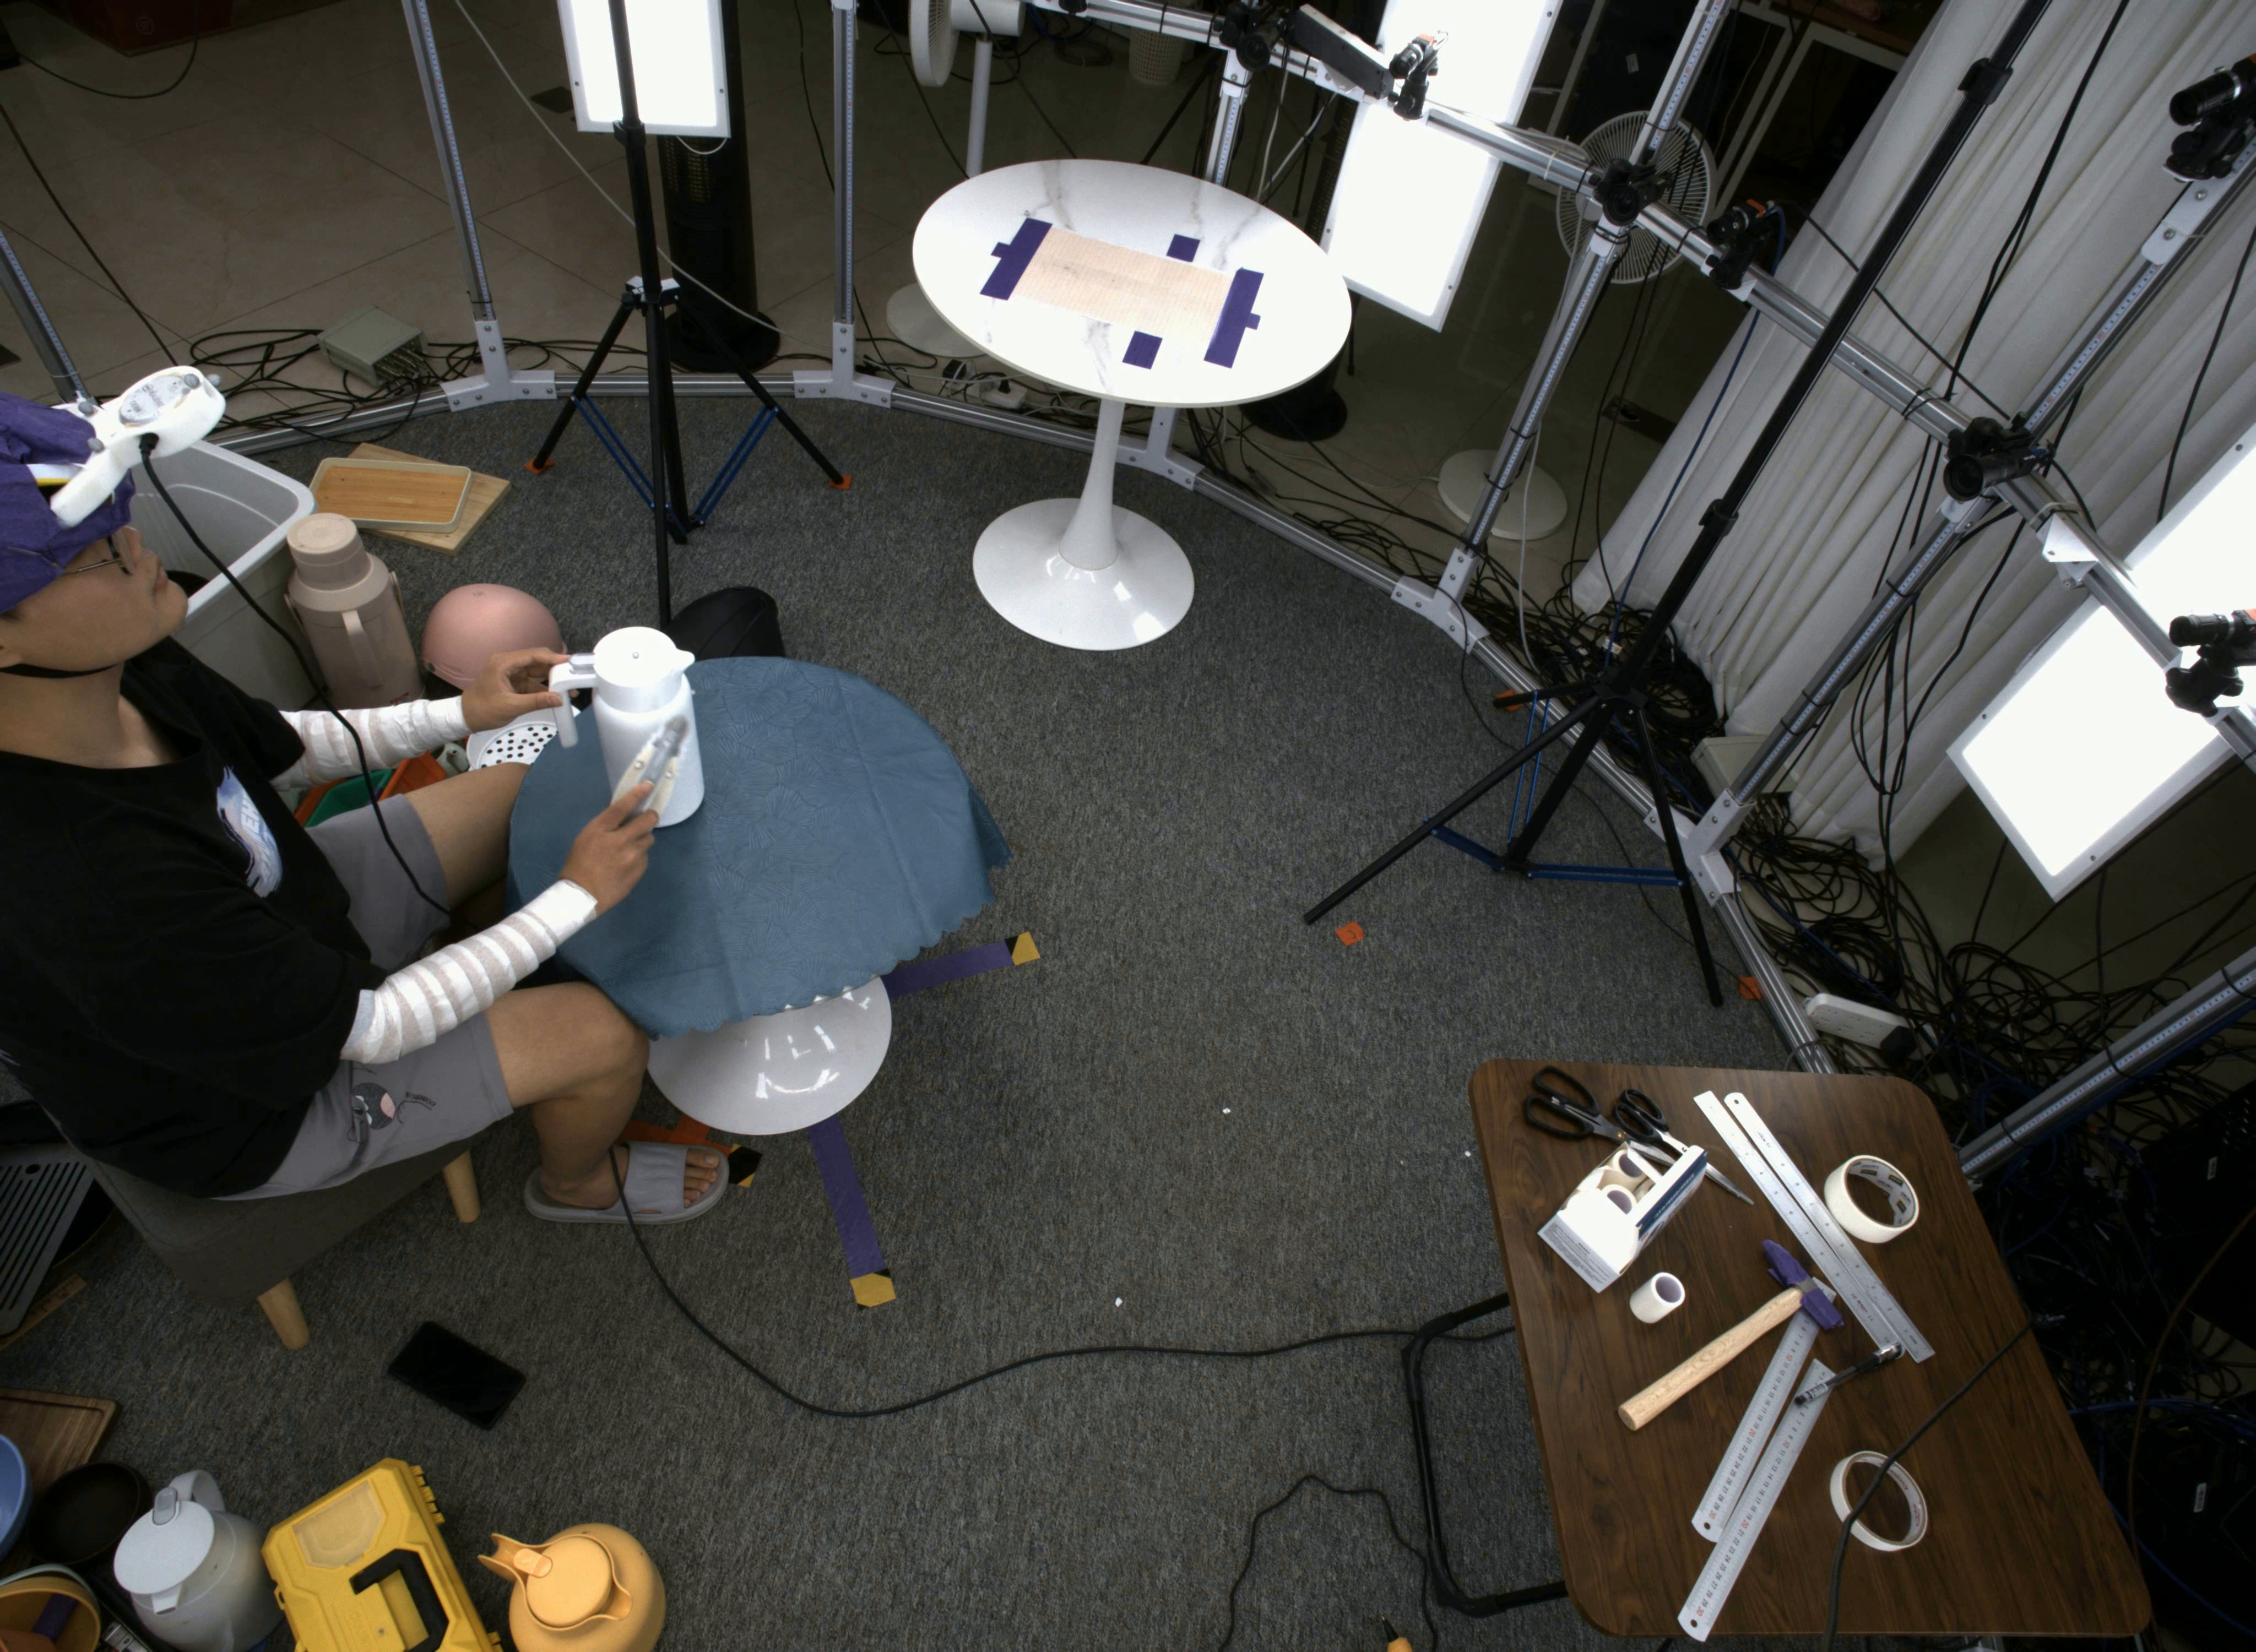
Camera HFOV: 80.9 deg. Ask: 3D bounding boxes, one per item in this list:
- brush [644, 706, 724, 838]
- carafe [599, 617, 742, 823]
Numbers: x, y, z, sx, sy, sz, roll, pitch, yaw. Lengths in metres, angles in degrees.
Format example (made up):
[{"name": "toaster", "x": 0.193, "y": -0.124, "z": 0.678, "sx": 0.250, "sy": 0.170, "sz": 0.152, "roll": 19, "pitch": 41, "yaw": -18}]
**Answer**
[{"name": "brush", "x": -0.527, "y": -0.058, "z": 1.527, "sx": 0.062, "sy": 0.176, "sz": 0.092, "roll": 27, "pitch": 34, "yaw": -21}, {"name": "carafe", "x": -0.575, "y": -0.129, "z": 1.620, "sx": 0.173, "sy": 0.274, "sz": 0.121, "roll": -7, "pitch": 56, "yaw": -16}]
